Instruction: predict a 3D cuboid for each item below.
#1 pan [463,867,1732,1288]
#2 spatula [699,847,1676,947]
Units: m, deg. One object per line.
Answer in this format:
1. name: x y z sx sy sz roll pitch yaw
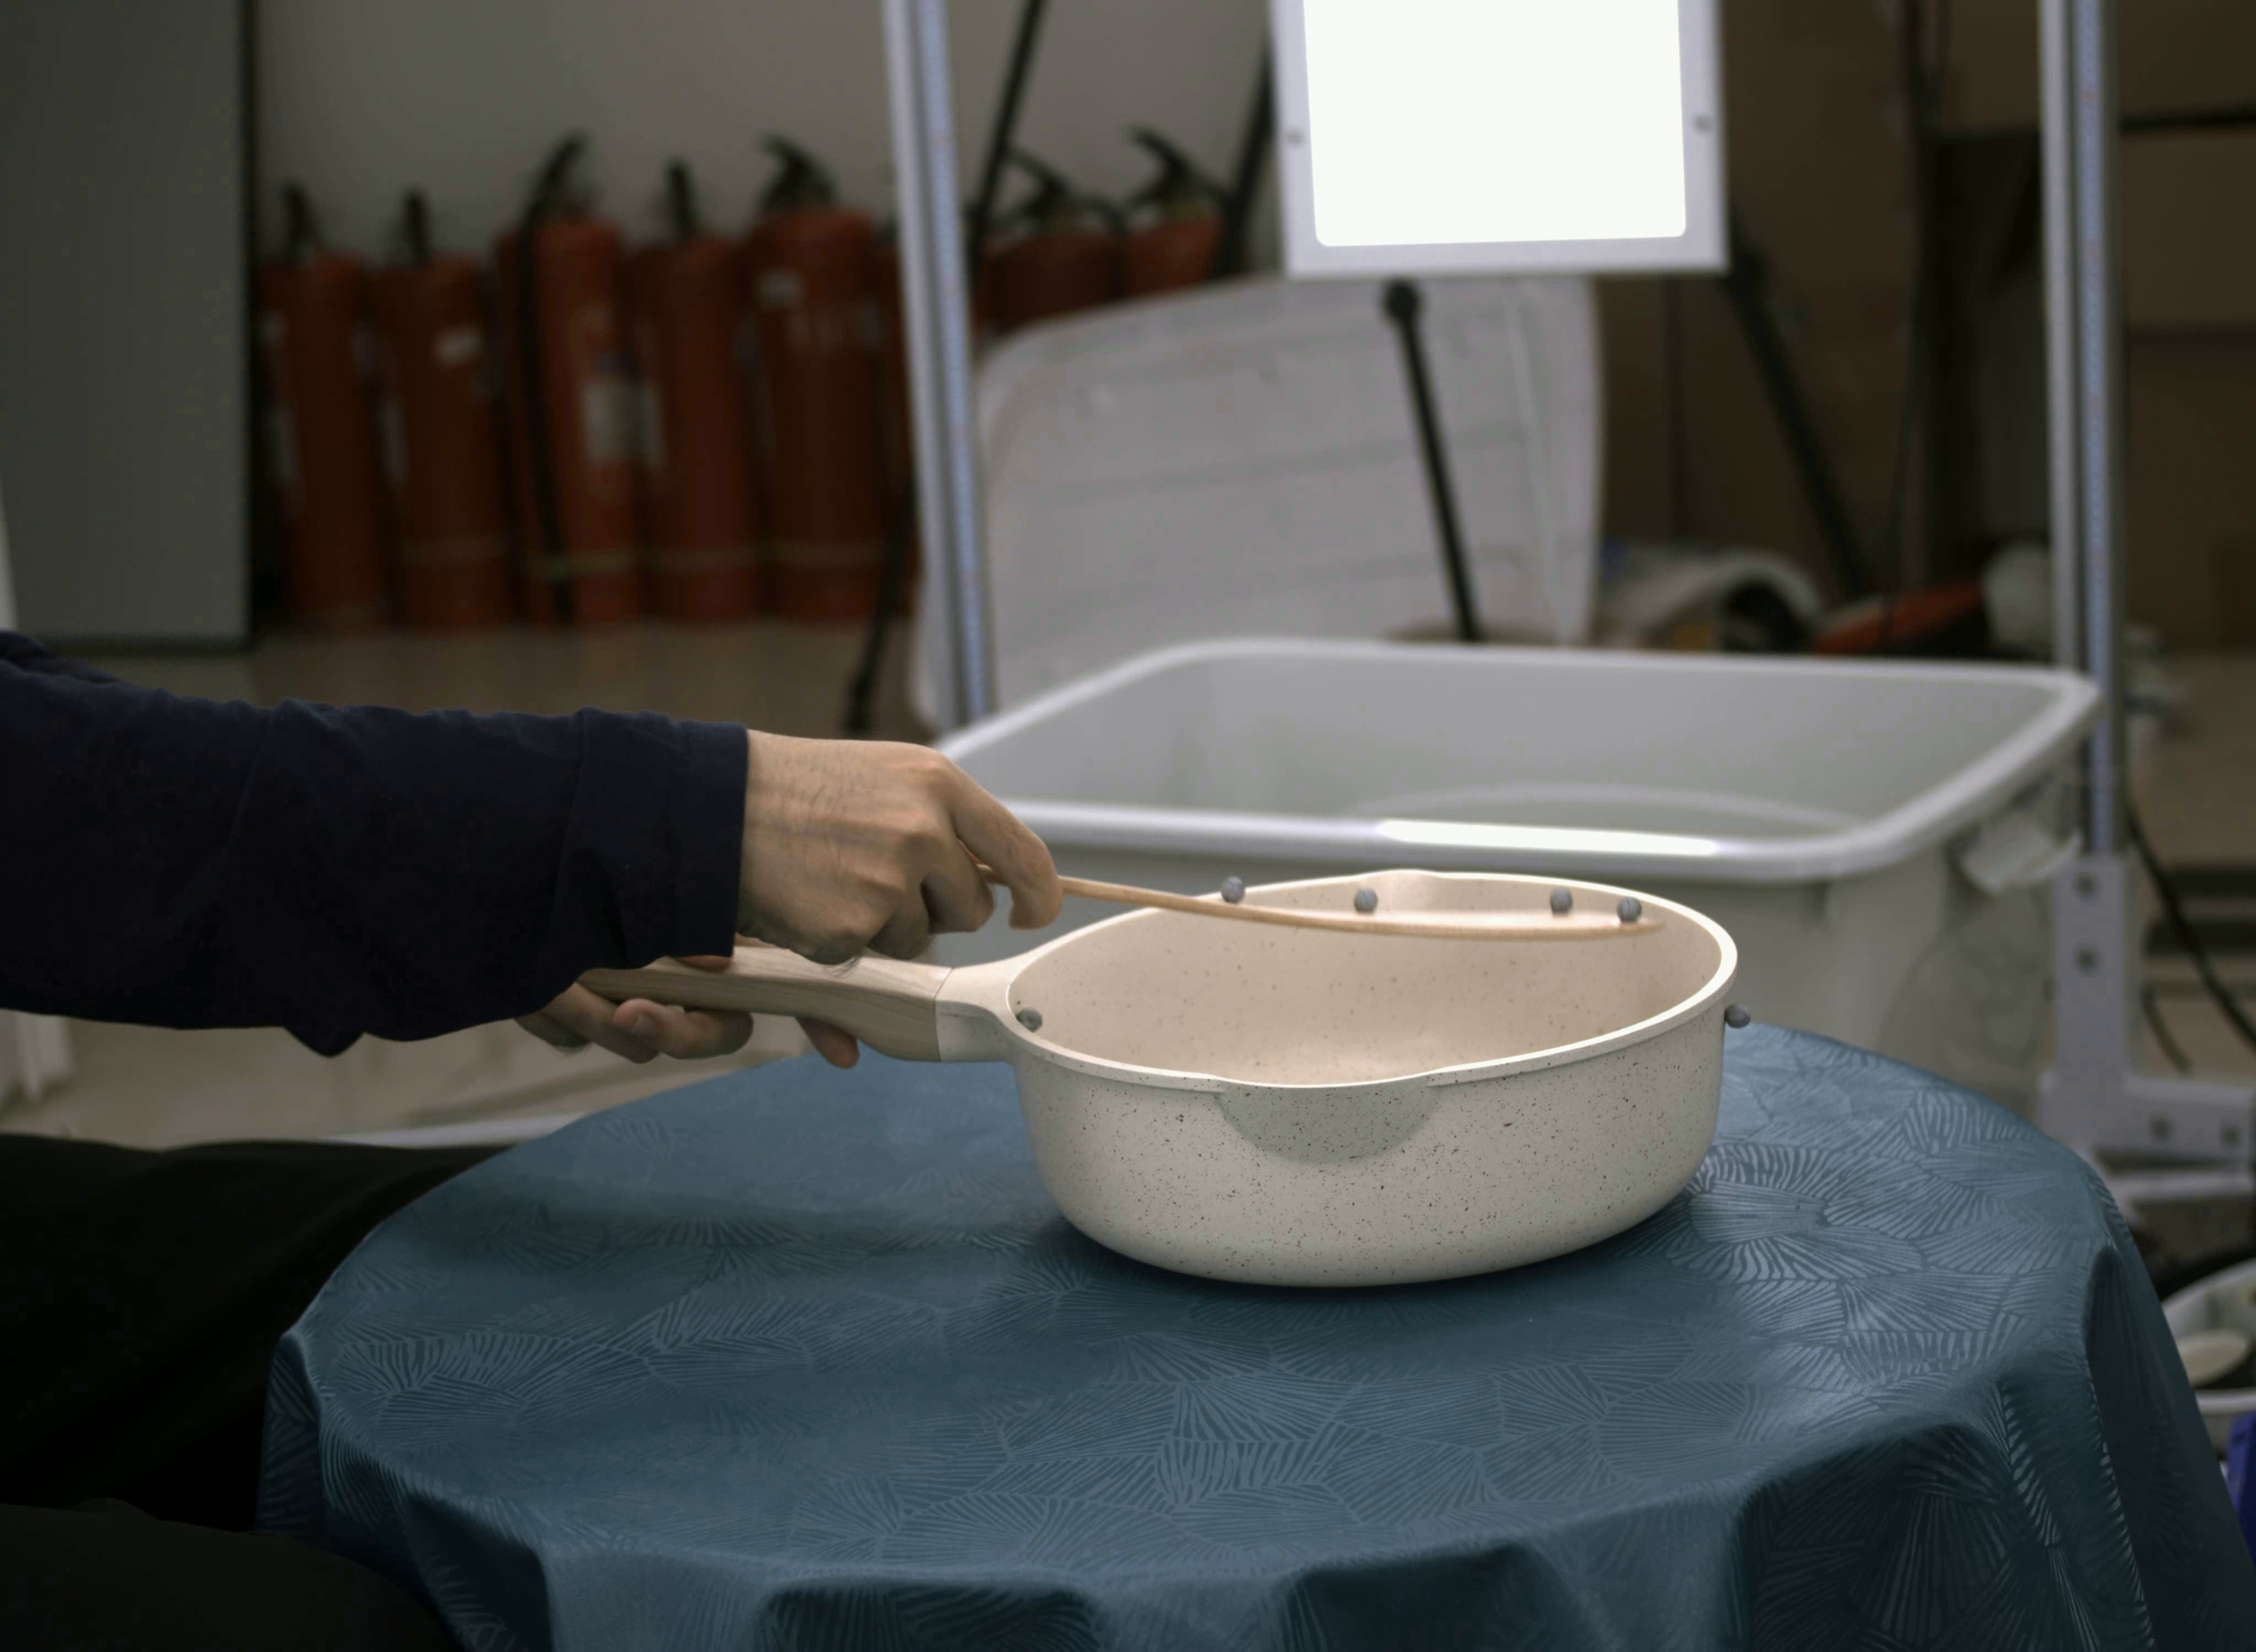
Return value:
1. pan: -0.010 0.084 1.877 0.437 0.102 0.261 -3 15 10
2. spatula: 0.018 0.023 1.831 0.323 0.016 0.080 7 0 -12
